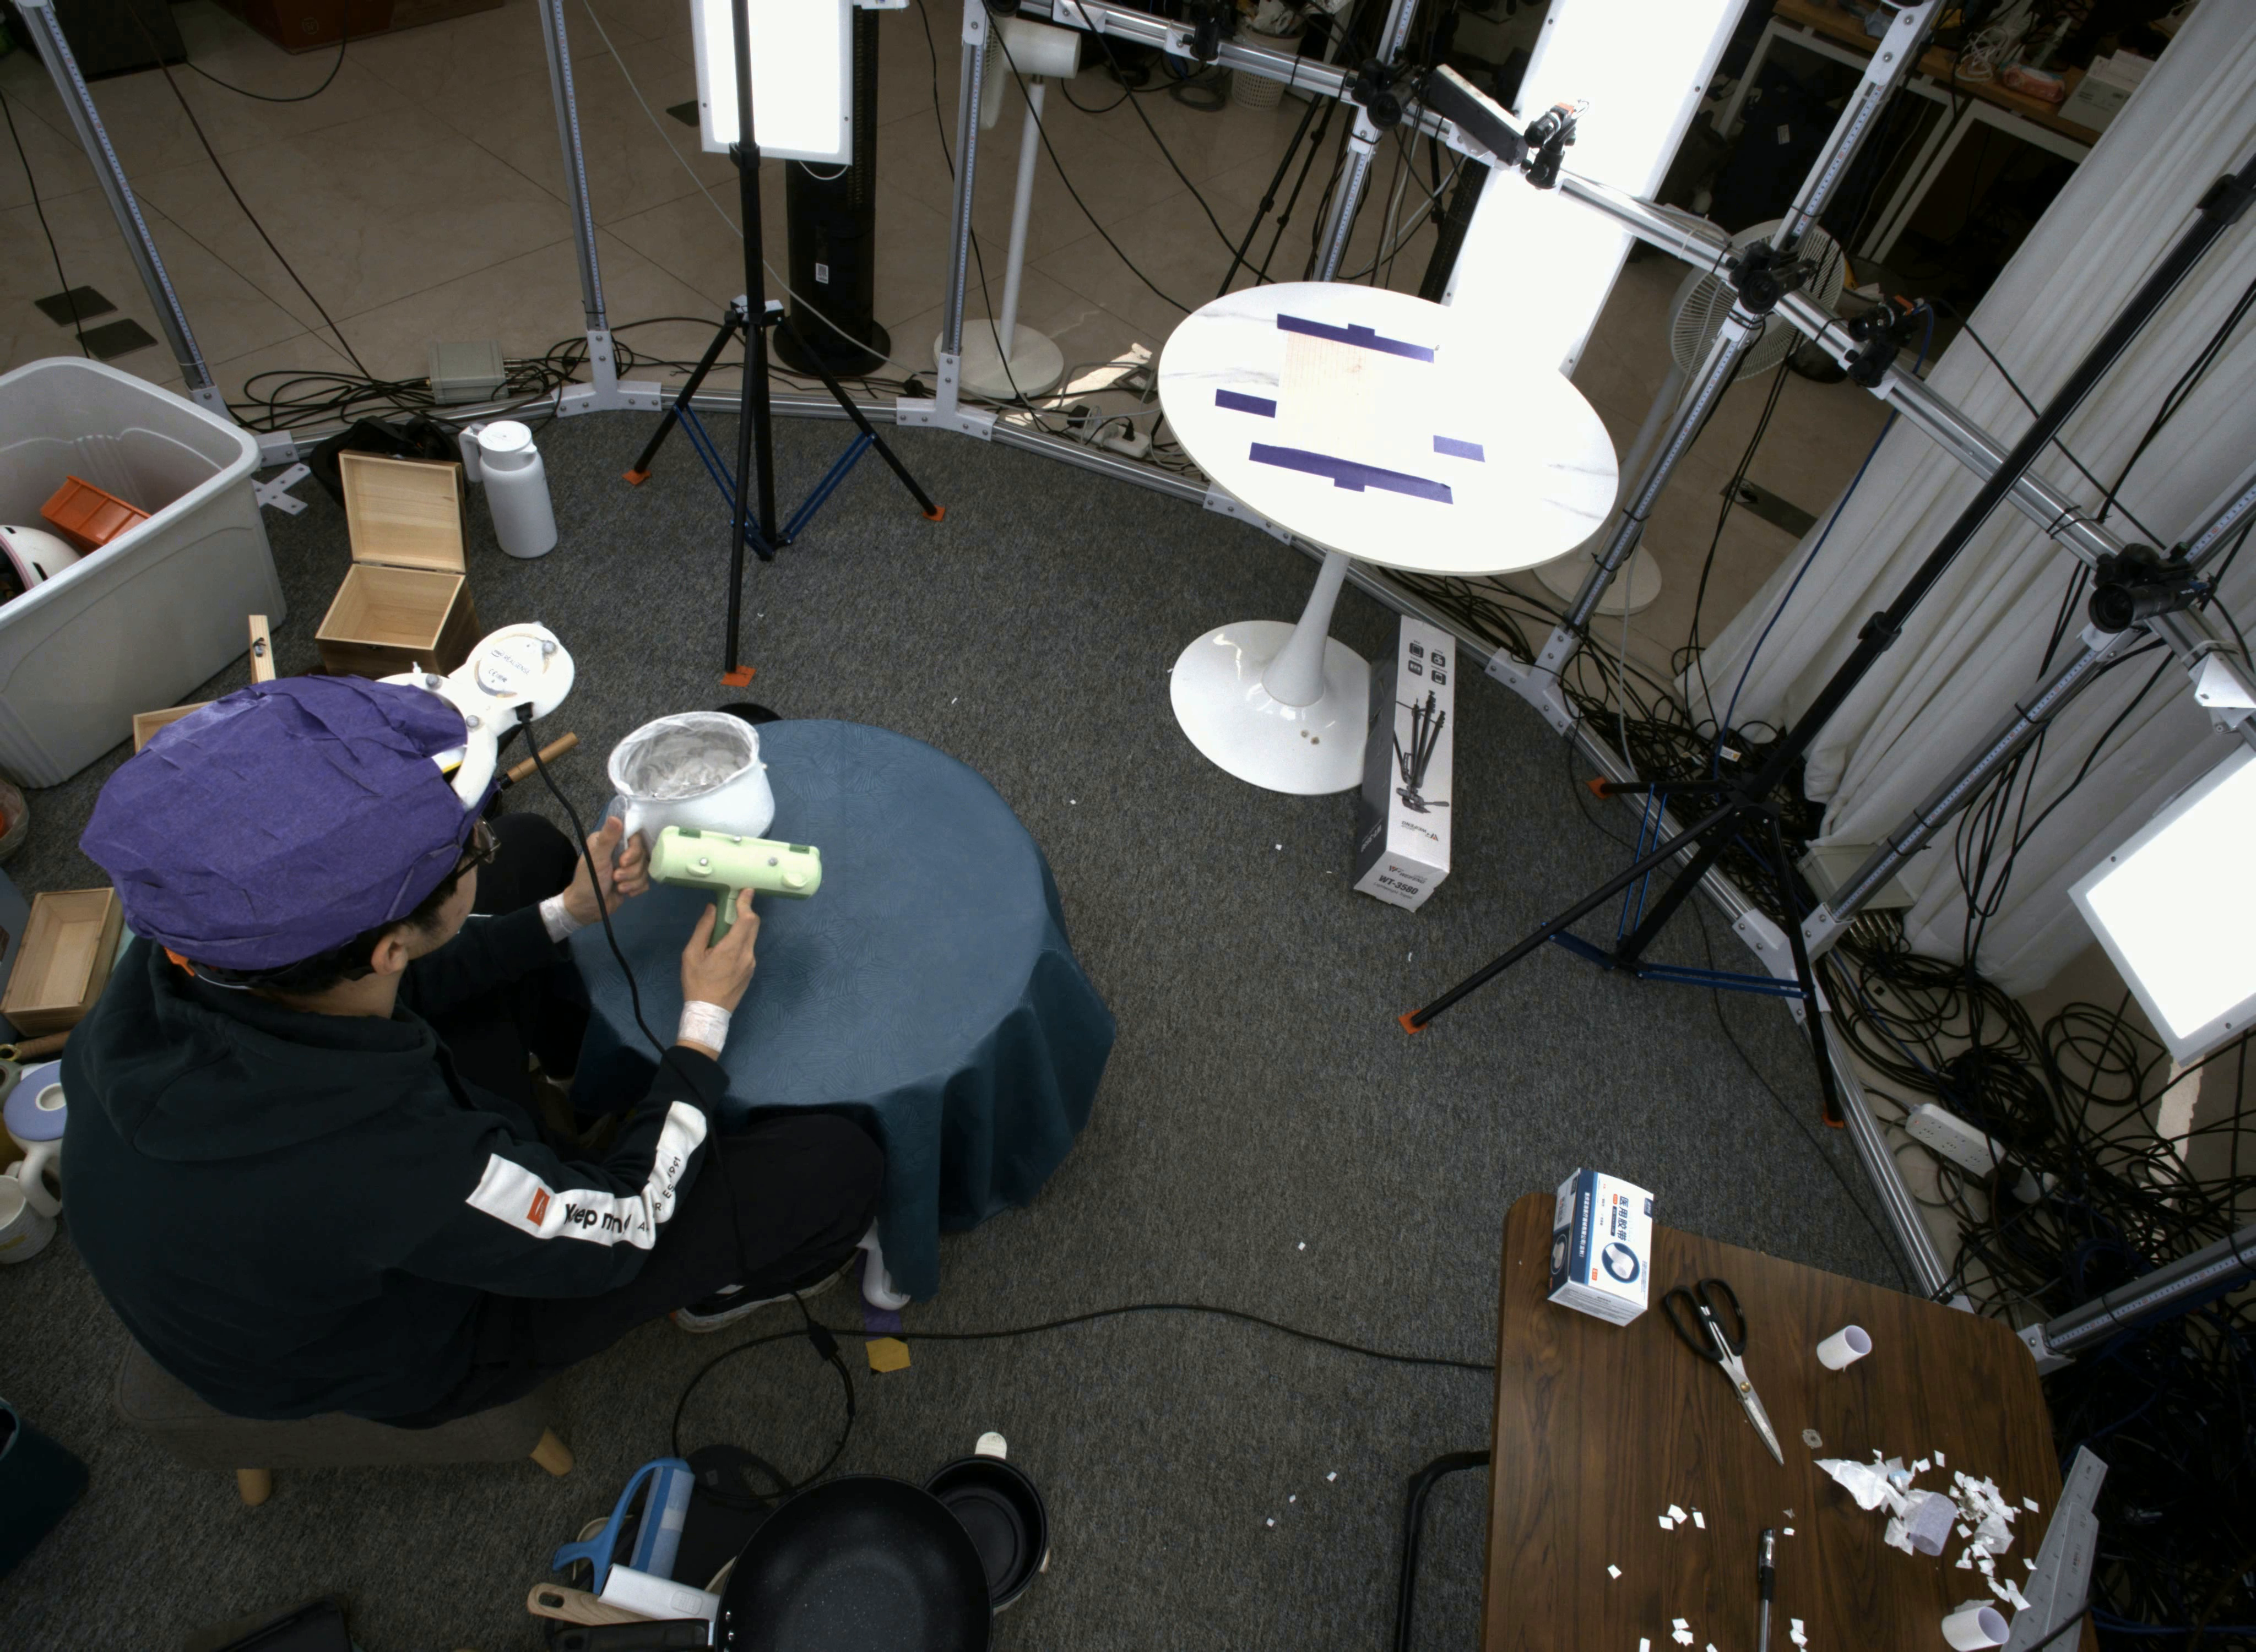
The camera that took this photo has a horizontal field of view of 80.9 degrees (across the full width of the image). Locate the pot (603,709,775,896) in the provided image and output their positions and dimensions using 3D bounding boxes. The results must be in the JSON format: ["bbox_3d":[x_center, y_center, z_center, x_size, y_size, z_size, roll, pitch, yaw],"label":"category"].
[{"bbox_3d":[-0.535,-0.023,1.532,0.173,0.141,0.233,20,43,23],"label":"pot"}]

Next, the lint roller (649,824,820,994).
[{"bbox_3d":[-0.456,0.101,1.494,0.203,0.079,0.185,10,85,-42],"label":"lint roller"}]
